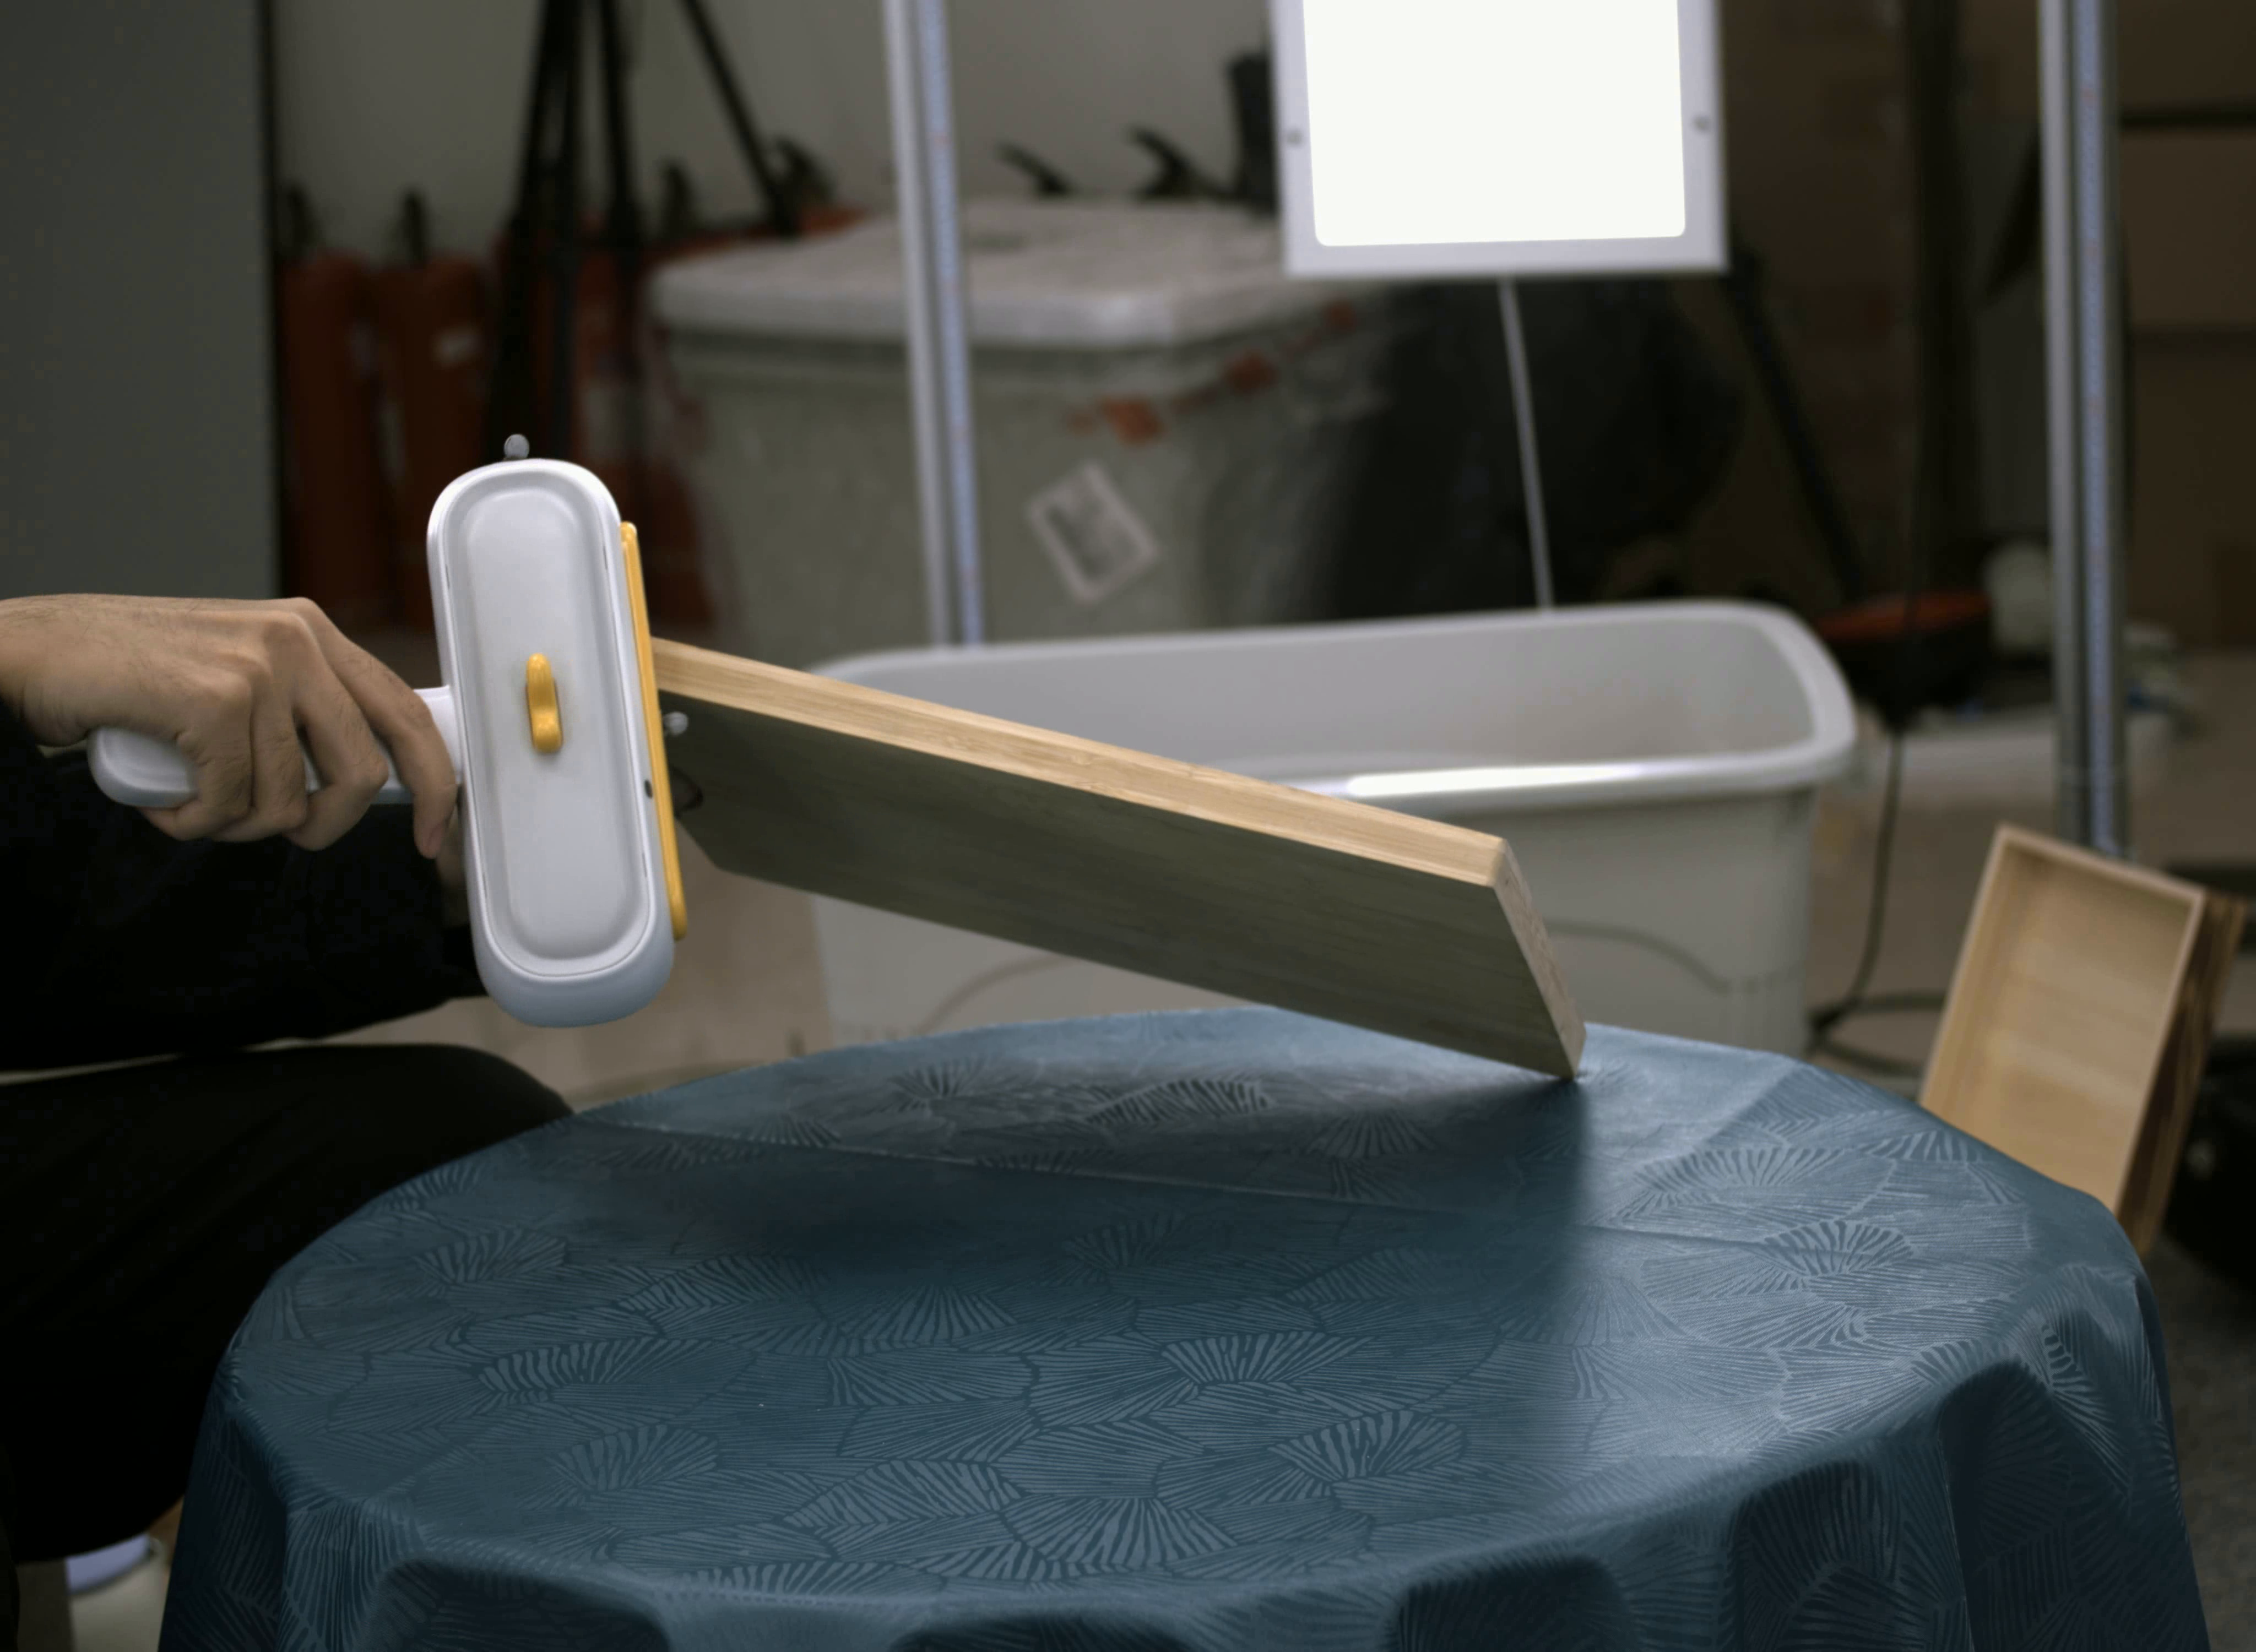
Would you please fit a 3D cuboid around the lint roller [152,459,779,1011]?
[{"bbox_3d":[-0.224,-0.018,1.798,0.190,0.193,0.075,-16,-15,-14],"label":"lint roller"}]

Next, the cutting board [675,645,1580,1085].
[{"bbox_3d":[-0.022,0.010,1.926,0.352,0.023,0.249,14,-15,17],"label":"cutting board"}]
